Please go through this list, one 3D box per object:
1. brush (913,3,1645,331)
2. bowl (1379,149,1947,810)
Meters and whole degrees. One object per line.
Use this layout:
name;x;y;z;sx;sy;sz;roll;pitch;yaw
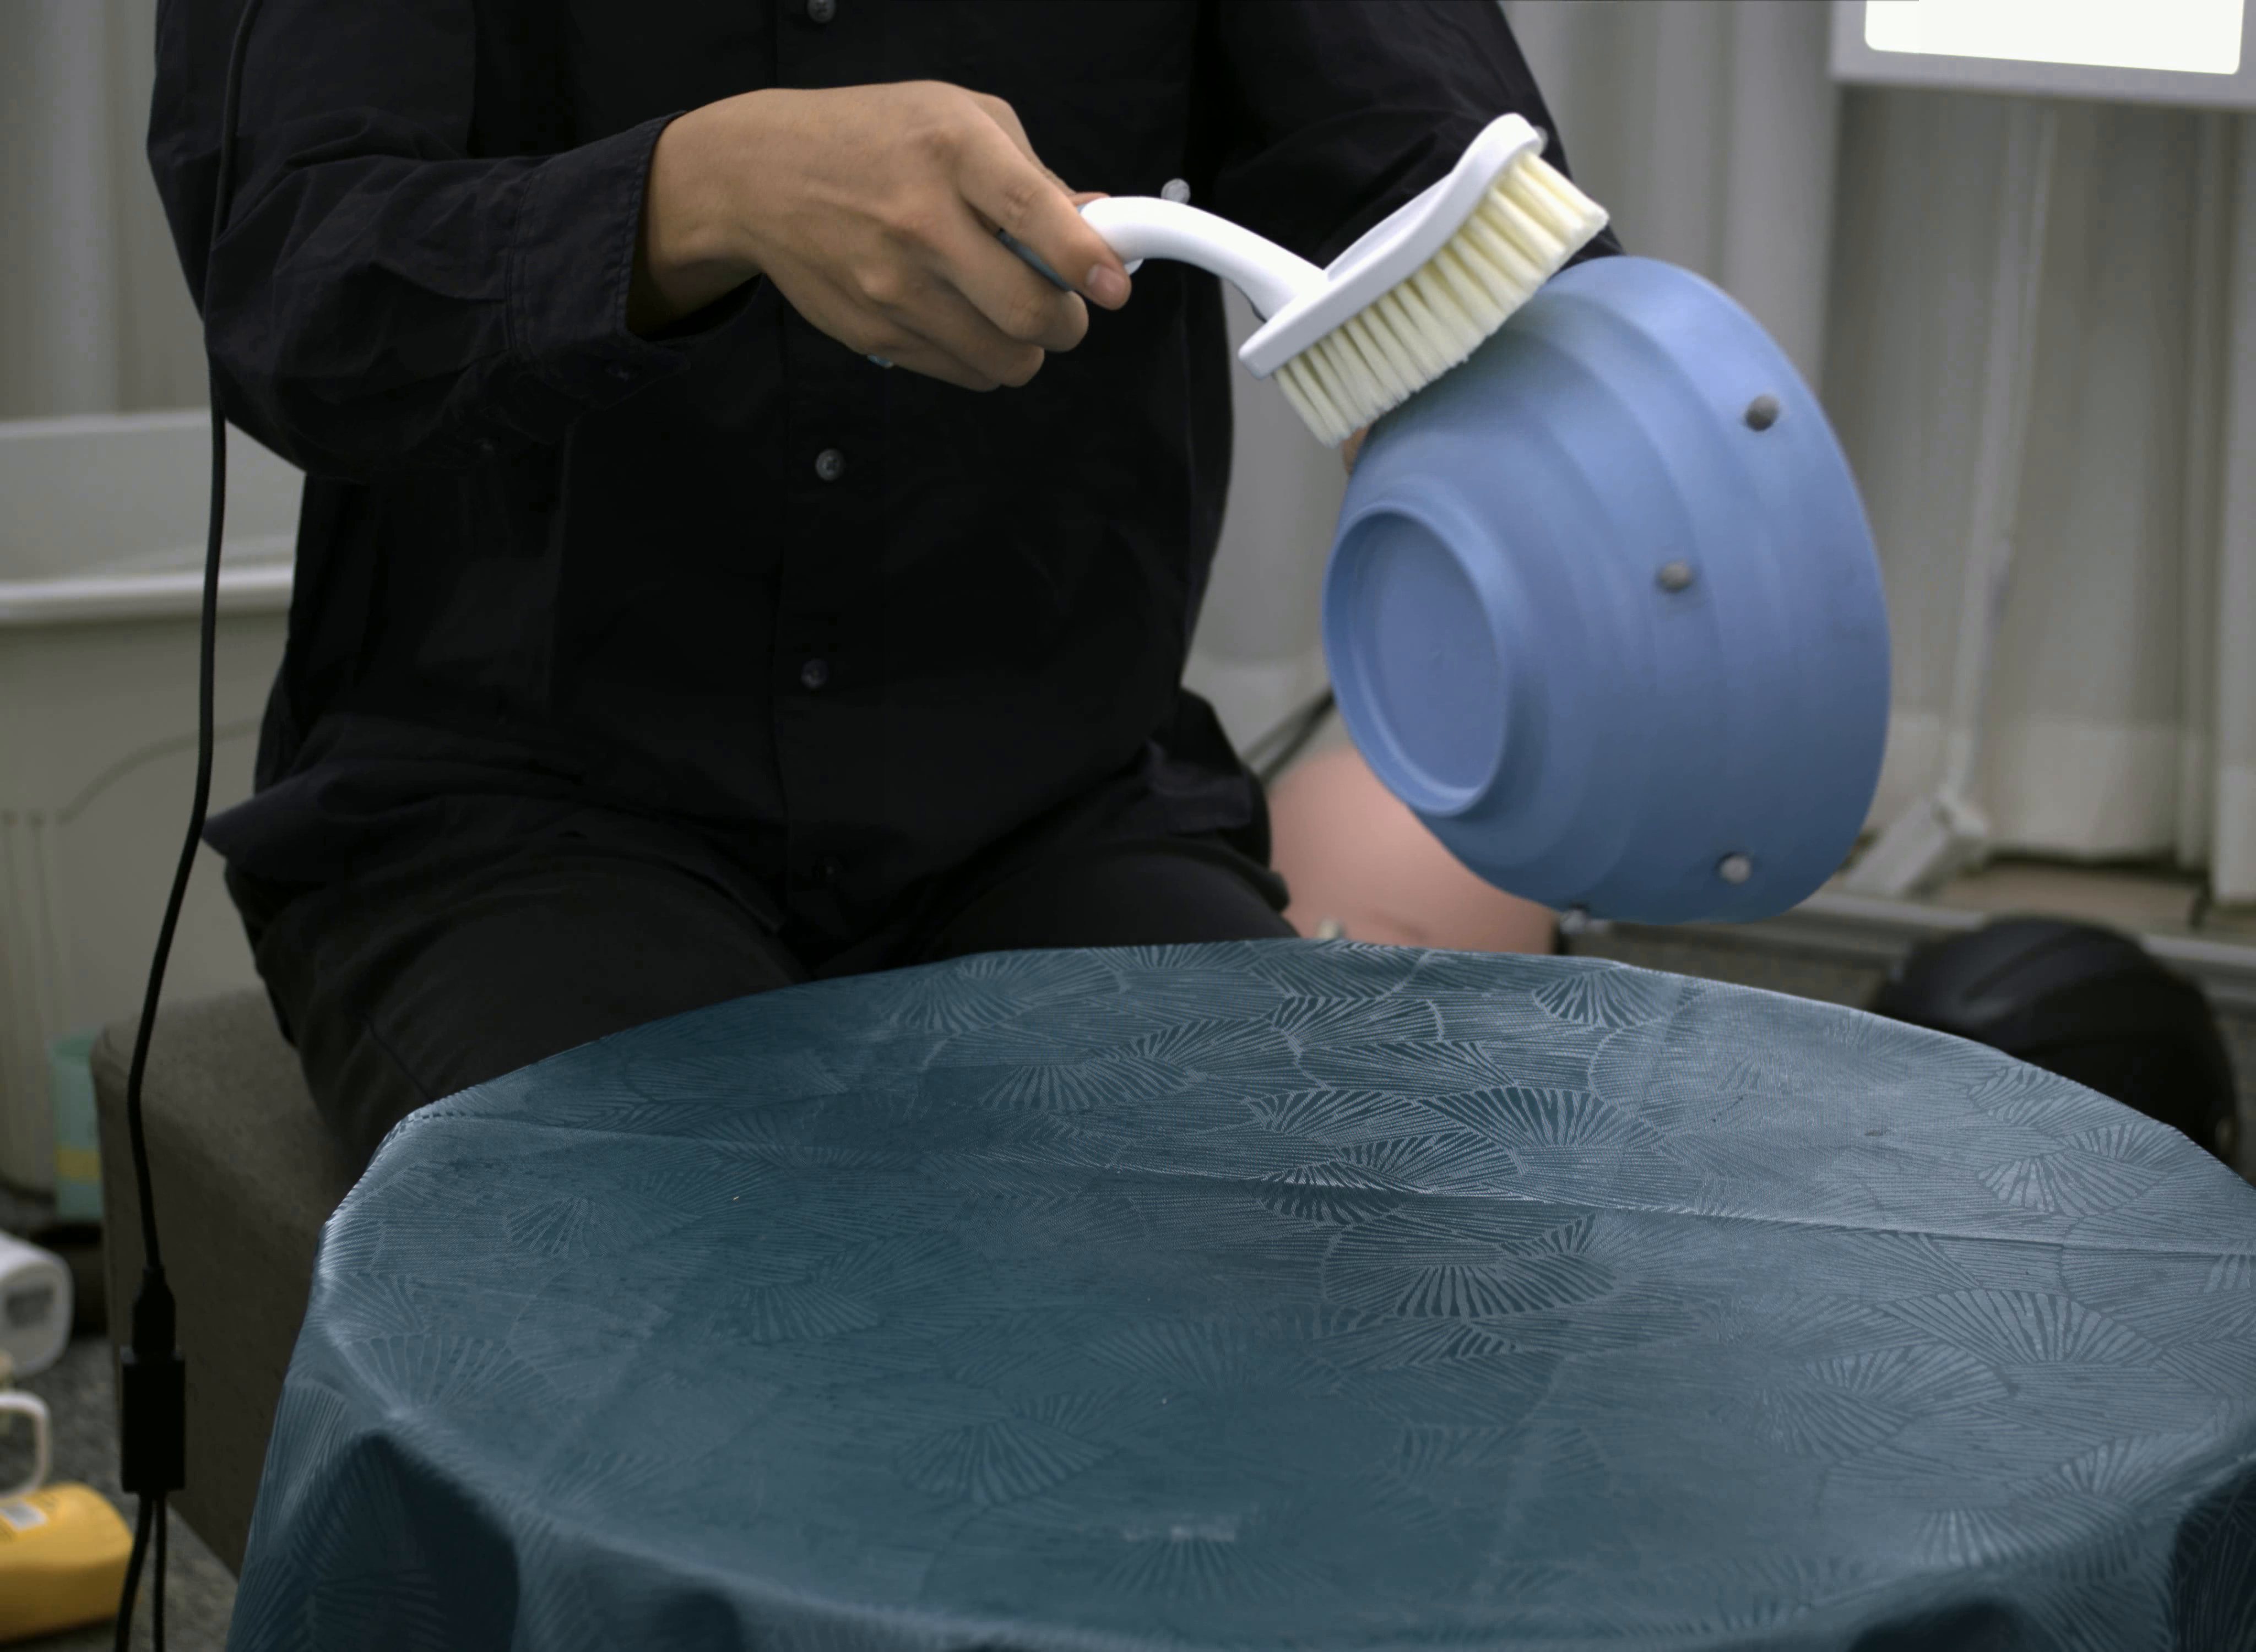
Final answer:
brush;0.048;-0.182;1.587;0.083;0.085;0.322;-3;-3;-36
bowl;0.137;-0.091;1.524;0.096;0.198;0.194;-16;22;-30
